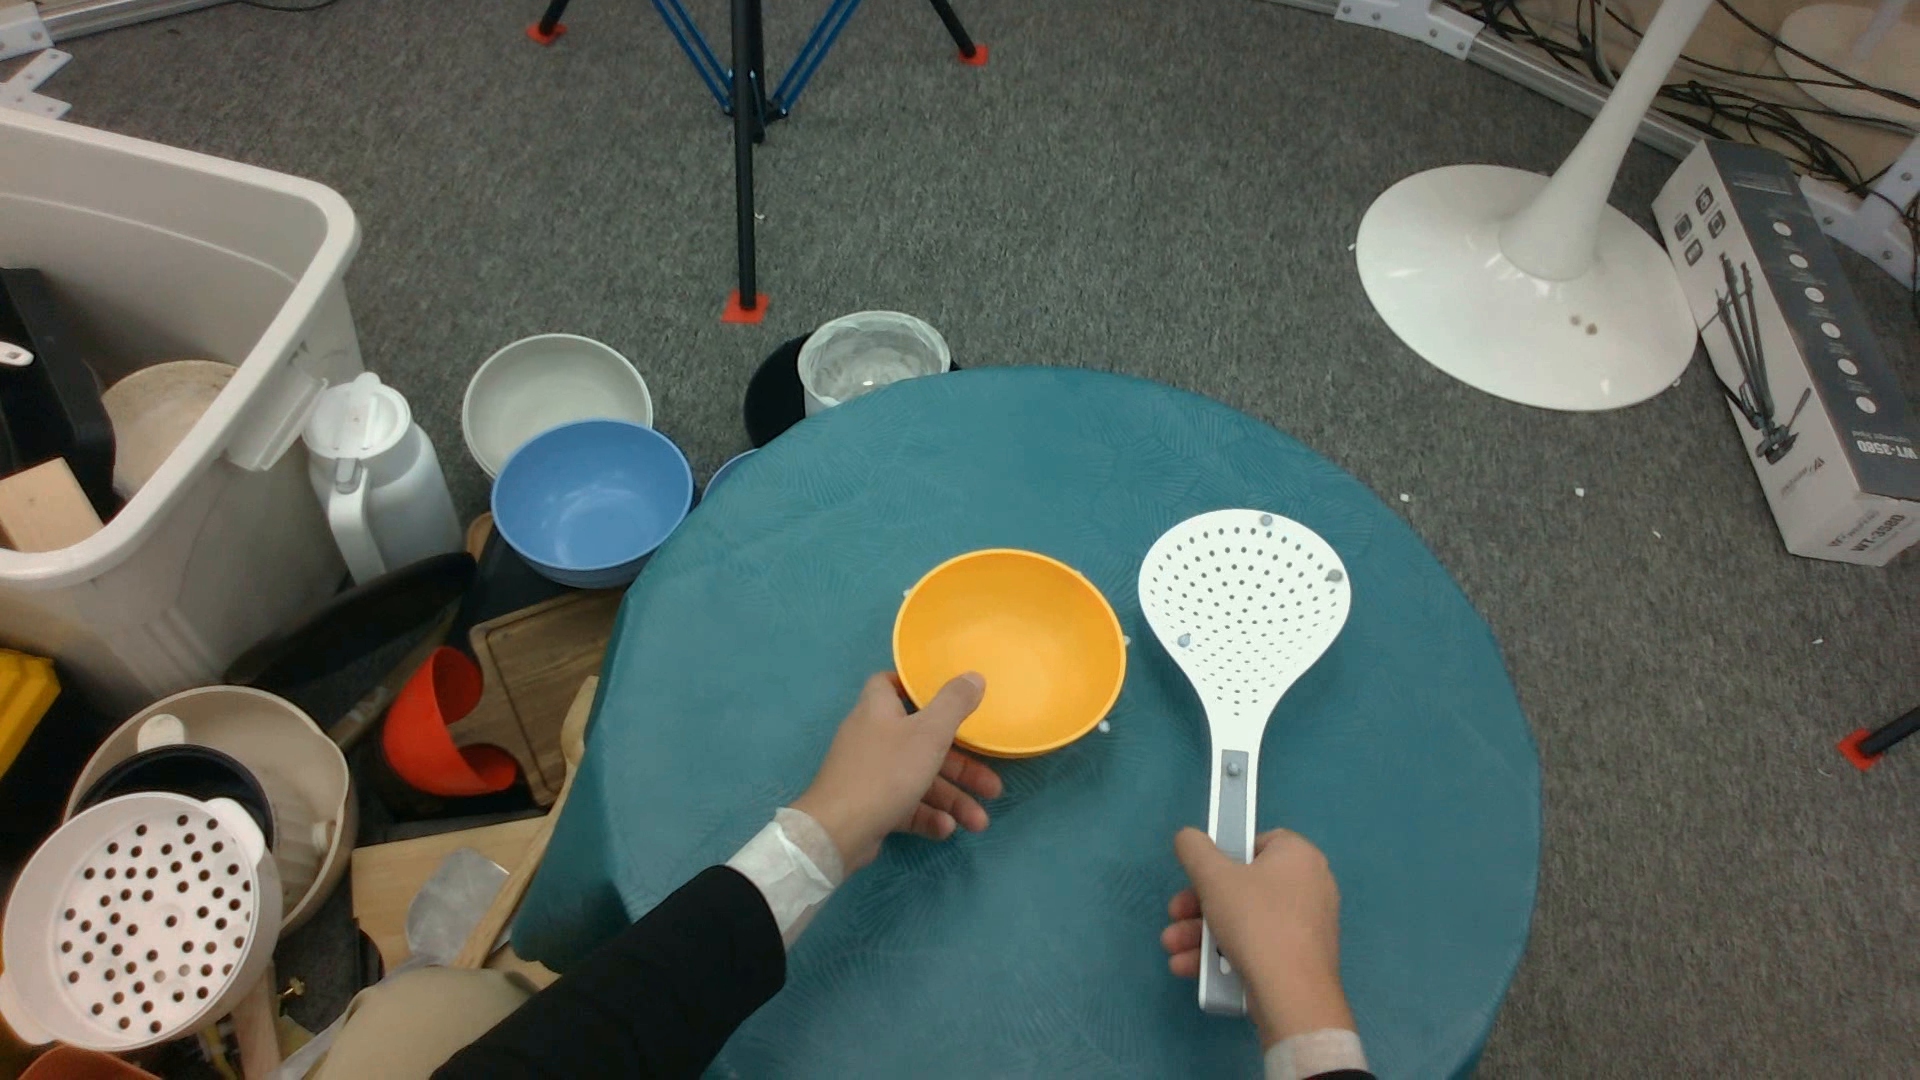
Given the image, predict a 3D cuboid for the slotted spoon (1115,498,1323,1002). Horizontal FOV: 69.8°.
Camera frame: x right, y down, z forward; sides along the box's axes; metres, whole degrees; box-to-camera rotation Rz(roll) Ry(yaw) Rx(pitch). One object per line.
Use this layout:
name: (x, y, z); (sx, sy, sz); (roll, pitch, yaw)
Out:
slotted spoon: (0.154, 0.111, 0.844); (0.136, 0.045, 0.351); (5, 46, 8)

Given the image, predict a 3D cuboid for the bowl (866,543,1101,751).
bowl: (0.013, 0.076, 0.864); (0.145, 0.060, 0.146); (3, 54, -4)
